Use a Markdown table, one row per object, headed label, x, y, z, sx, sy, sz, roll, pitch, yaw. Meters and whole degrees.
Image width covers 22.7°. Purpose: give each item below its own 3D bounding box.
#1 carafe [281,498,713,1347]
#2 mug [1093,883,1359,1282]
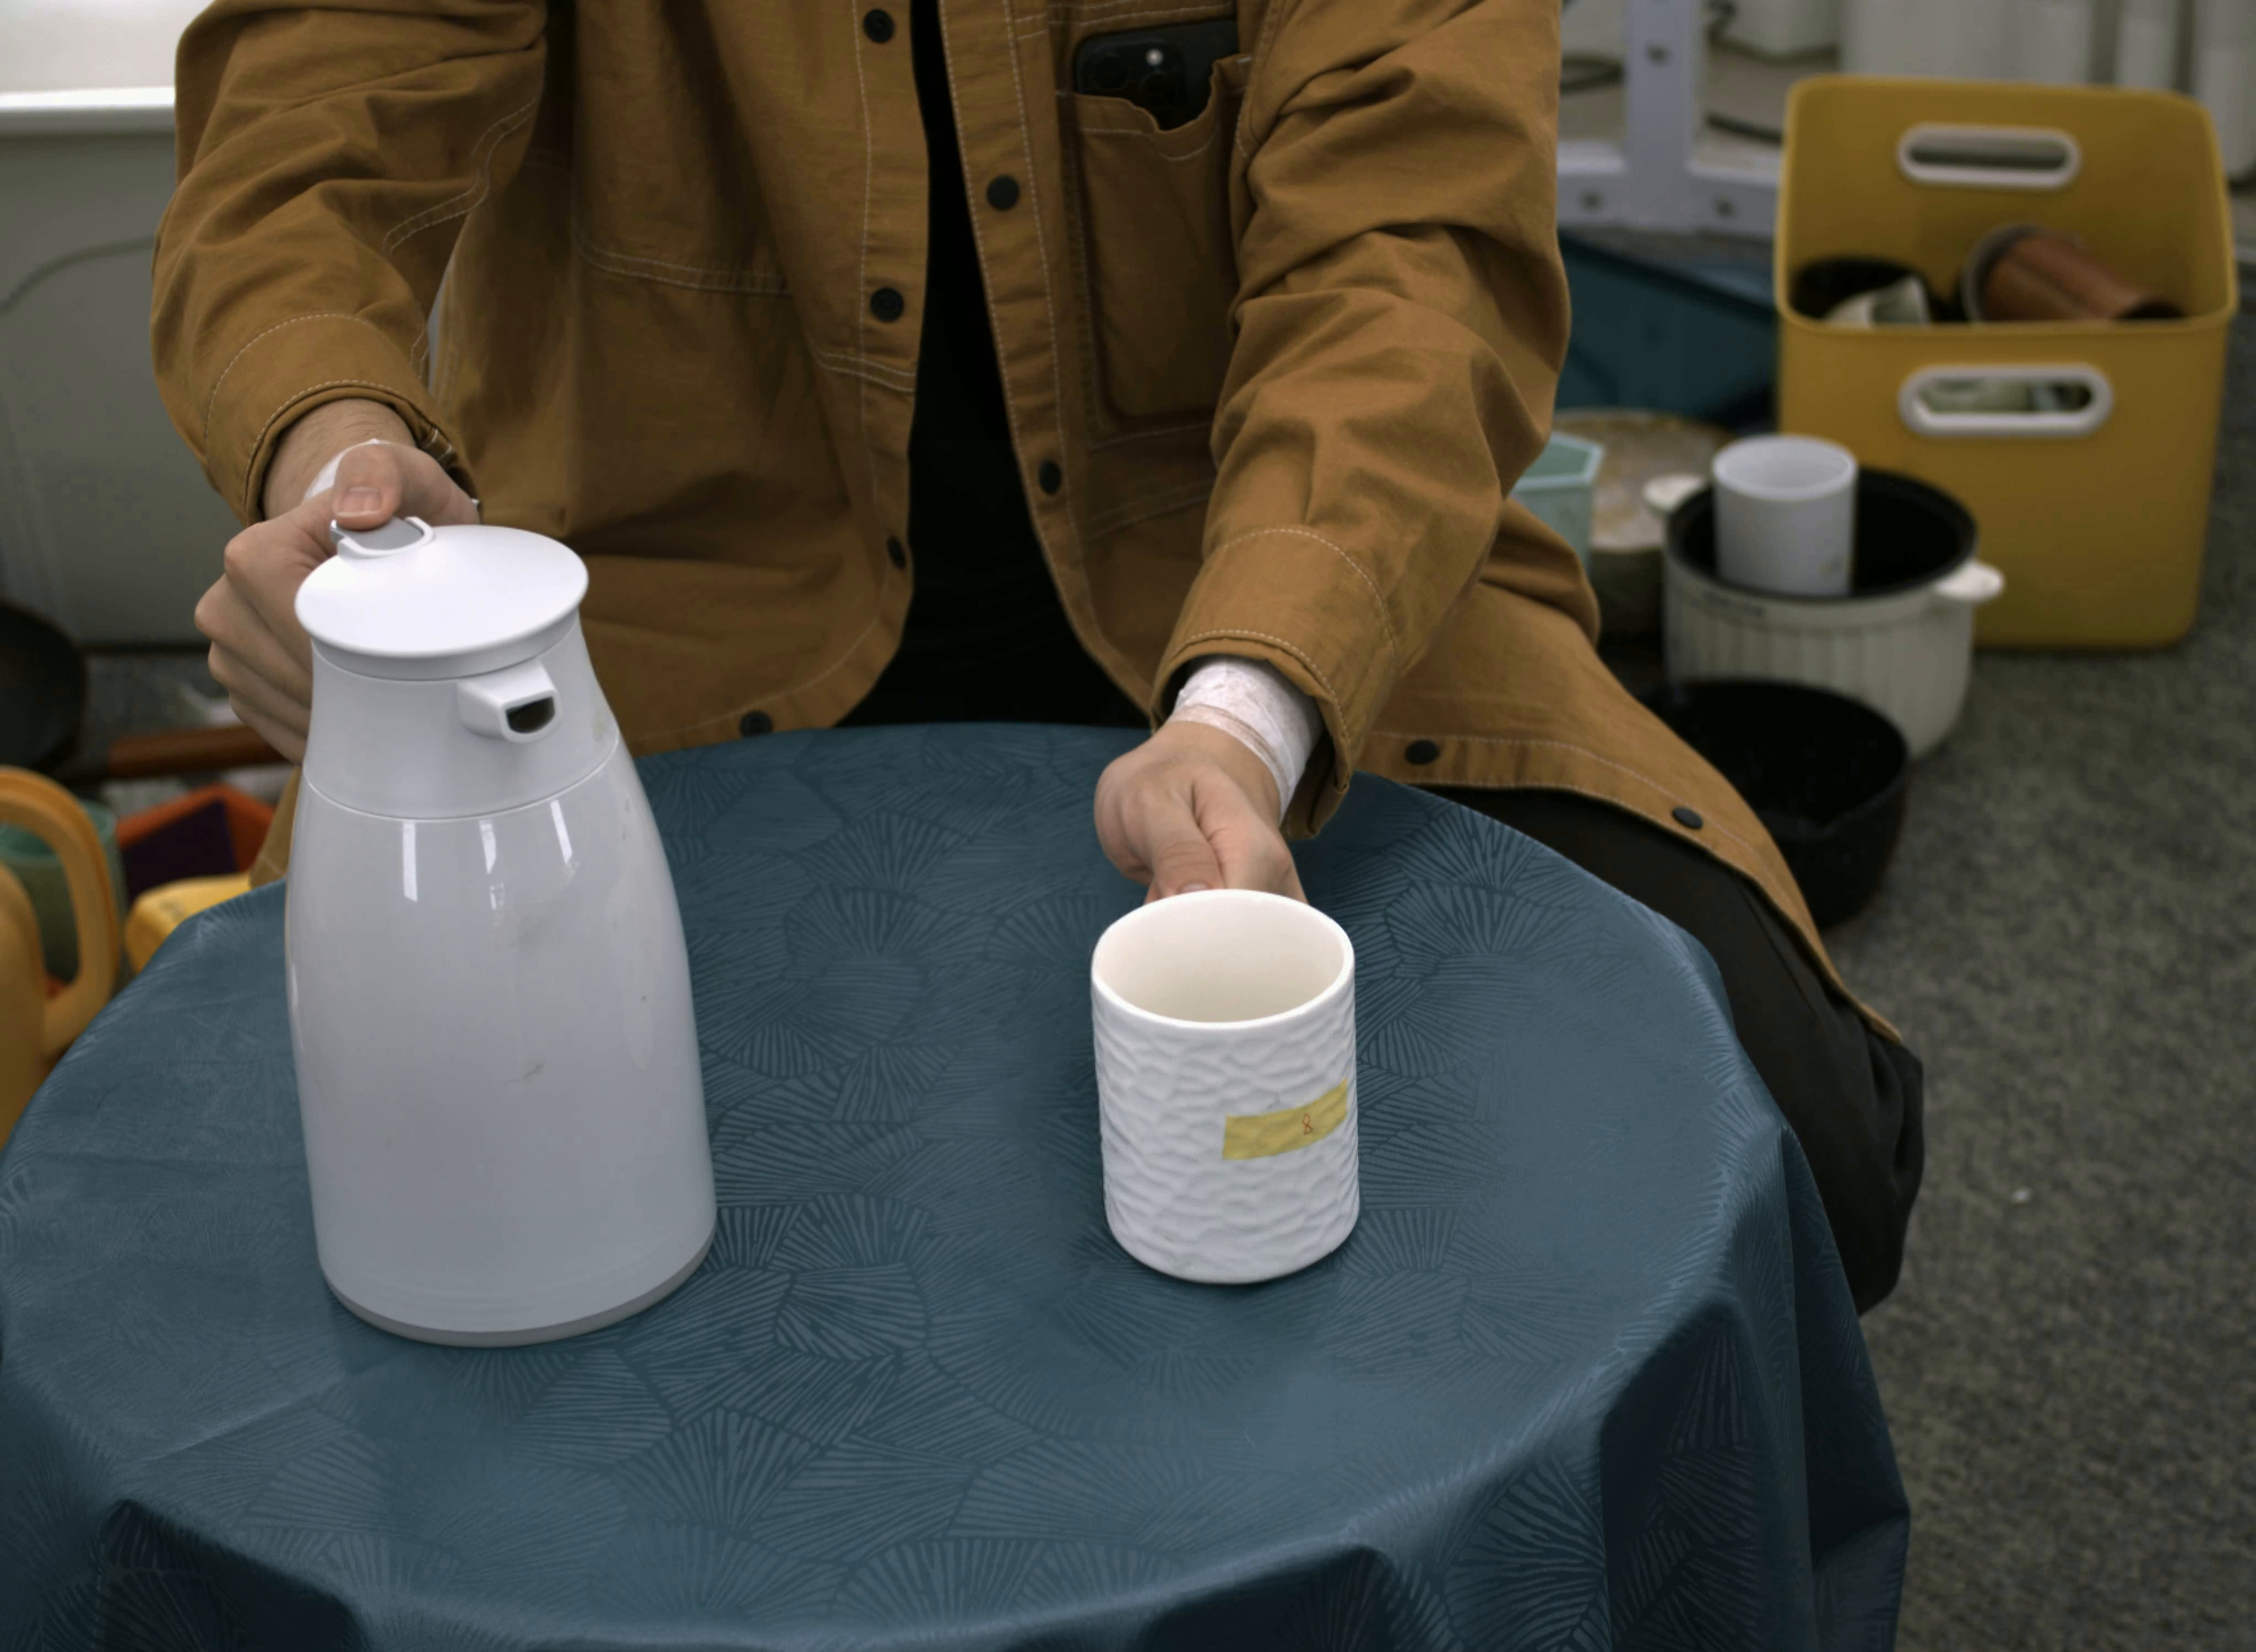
| label | x | y | z | sx | sy | sz | roll | pitch | yaw |
| --- | --- | --- | --- | --- | --- | --- | --- | --- | --- |
| carafe | -0.219 | 0.021 | 1.809 | 0.133 | 0.246 | 0.168 | -19 | 30 | -27 |
| mug | 0.029 | 0.076 | 1.829 | 0.085 | 0.101 | 0.120 | -7 | 29 | -9 |
